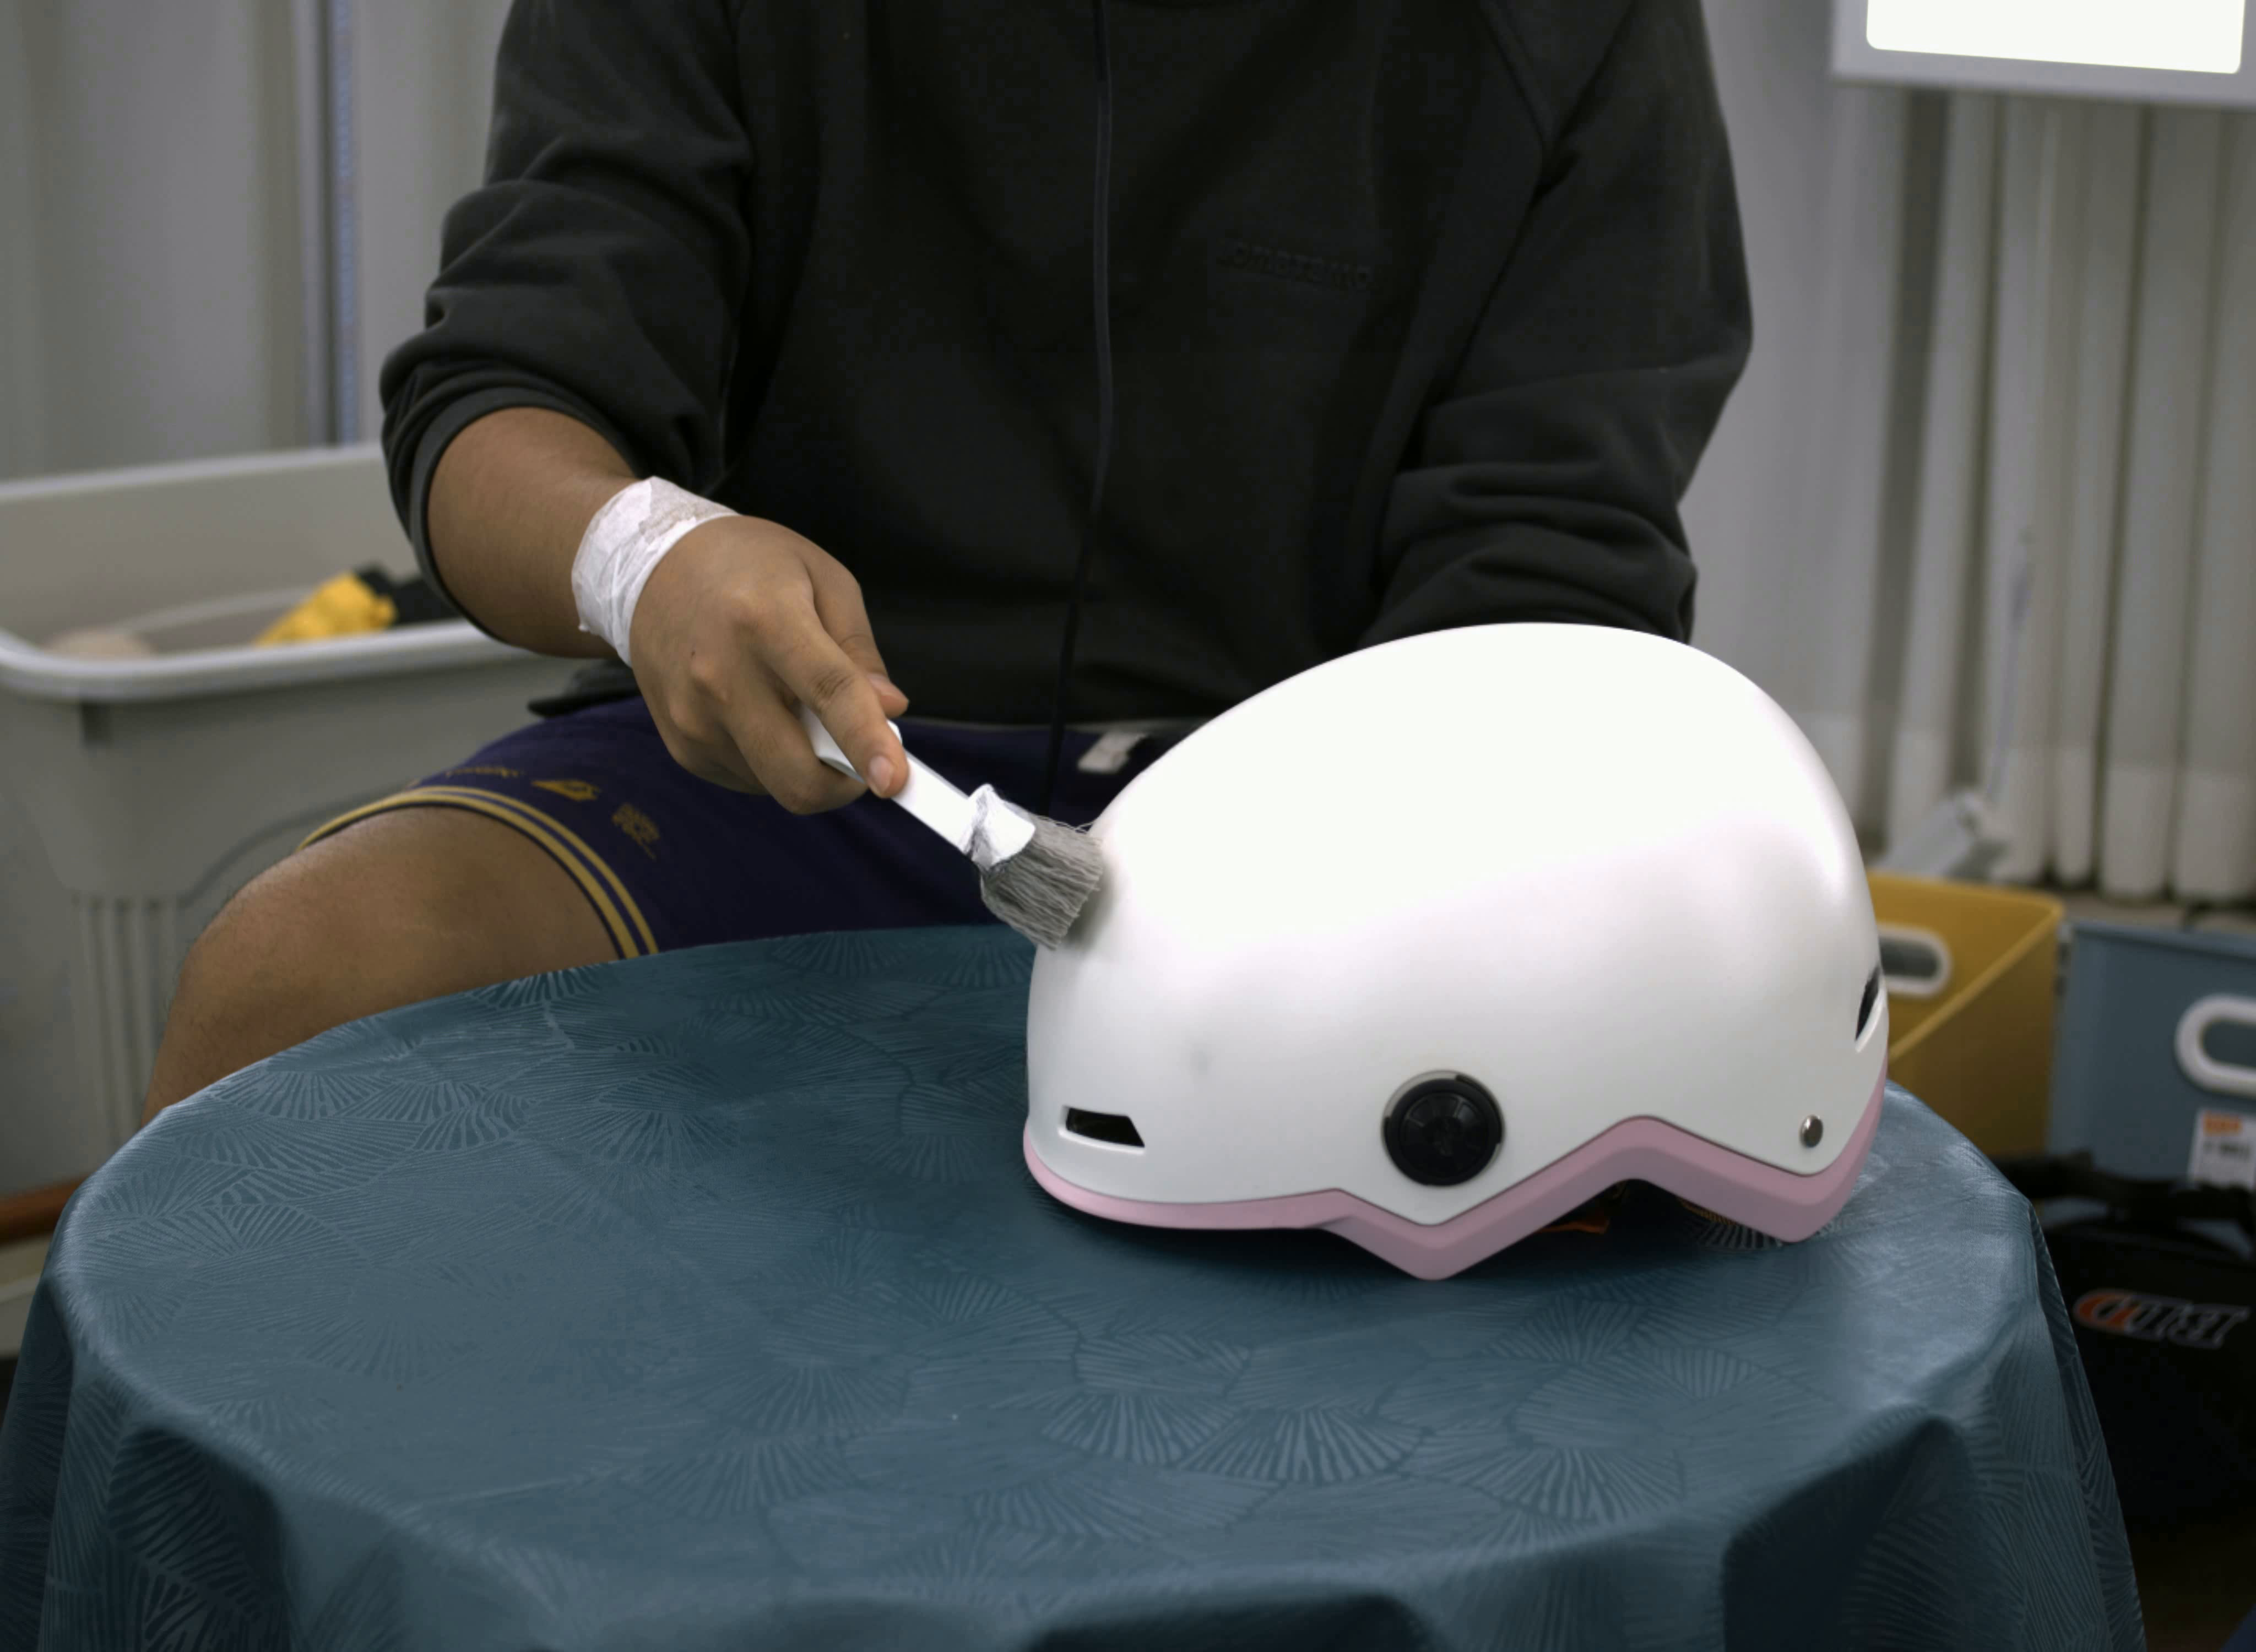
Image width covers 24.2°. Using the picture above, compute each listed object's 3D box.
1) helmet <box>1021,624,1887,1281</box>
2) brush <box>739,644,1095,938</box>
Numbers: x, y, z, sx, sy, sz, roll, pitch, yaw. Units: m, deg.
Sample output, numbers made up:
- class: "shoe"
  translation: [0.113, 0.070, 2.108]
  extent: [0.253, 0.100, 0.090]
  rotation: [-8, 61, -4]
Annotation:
- class: "helmet"
  translation: [0.101, 0.024, 1.622]
  extent: [0.268, 0.168, 0.235]
  rotation: [-1, 19, -6]
- class: "brush"
  translation: [-0.066, -0.013, 1.672]
  extent: [0.051, 0.034, 0.241]
  rotation: [28, 3, -27]
